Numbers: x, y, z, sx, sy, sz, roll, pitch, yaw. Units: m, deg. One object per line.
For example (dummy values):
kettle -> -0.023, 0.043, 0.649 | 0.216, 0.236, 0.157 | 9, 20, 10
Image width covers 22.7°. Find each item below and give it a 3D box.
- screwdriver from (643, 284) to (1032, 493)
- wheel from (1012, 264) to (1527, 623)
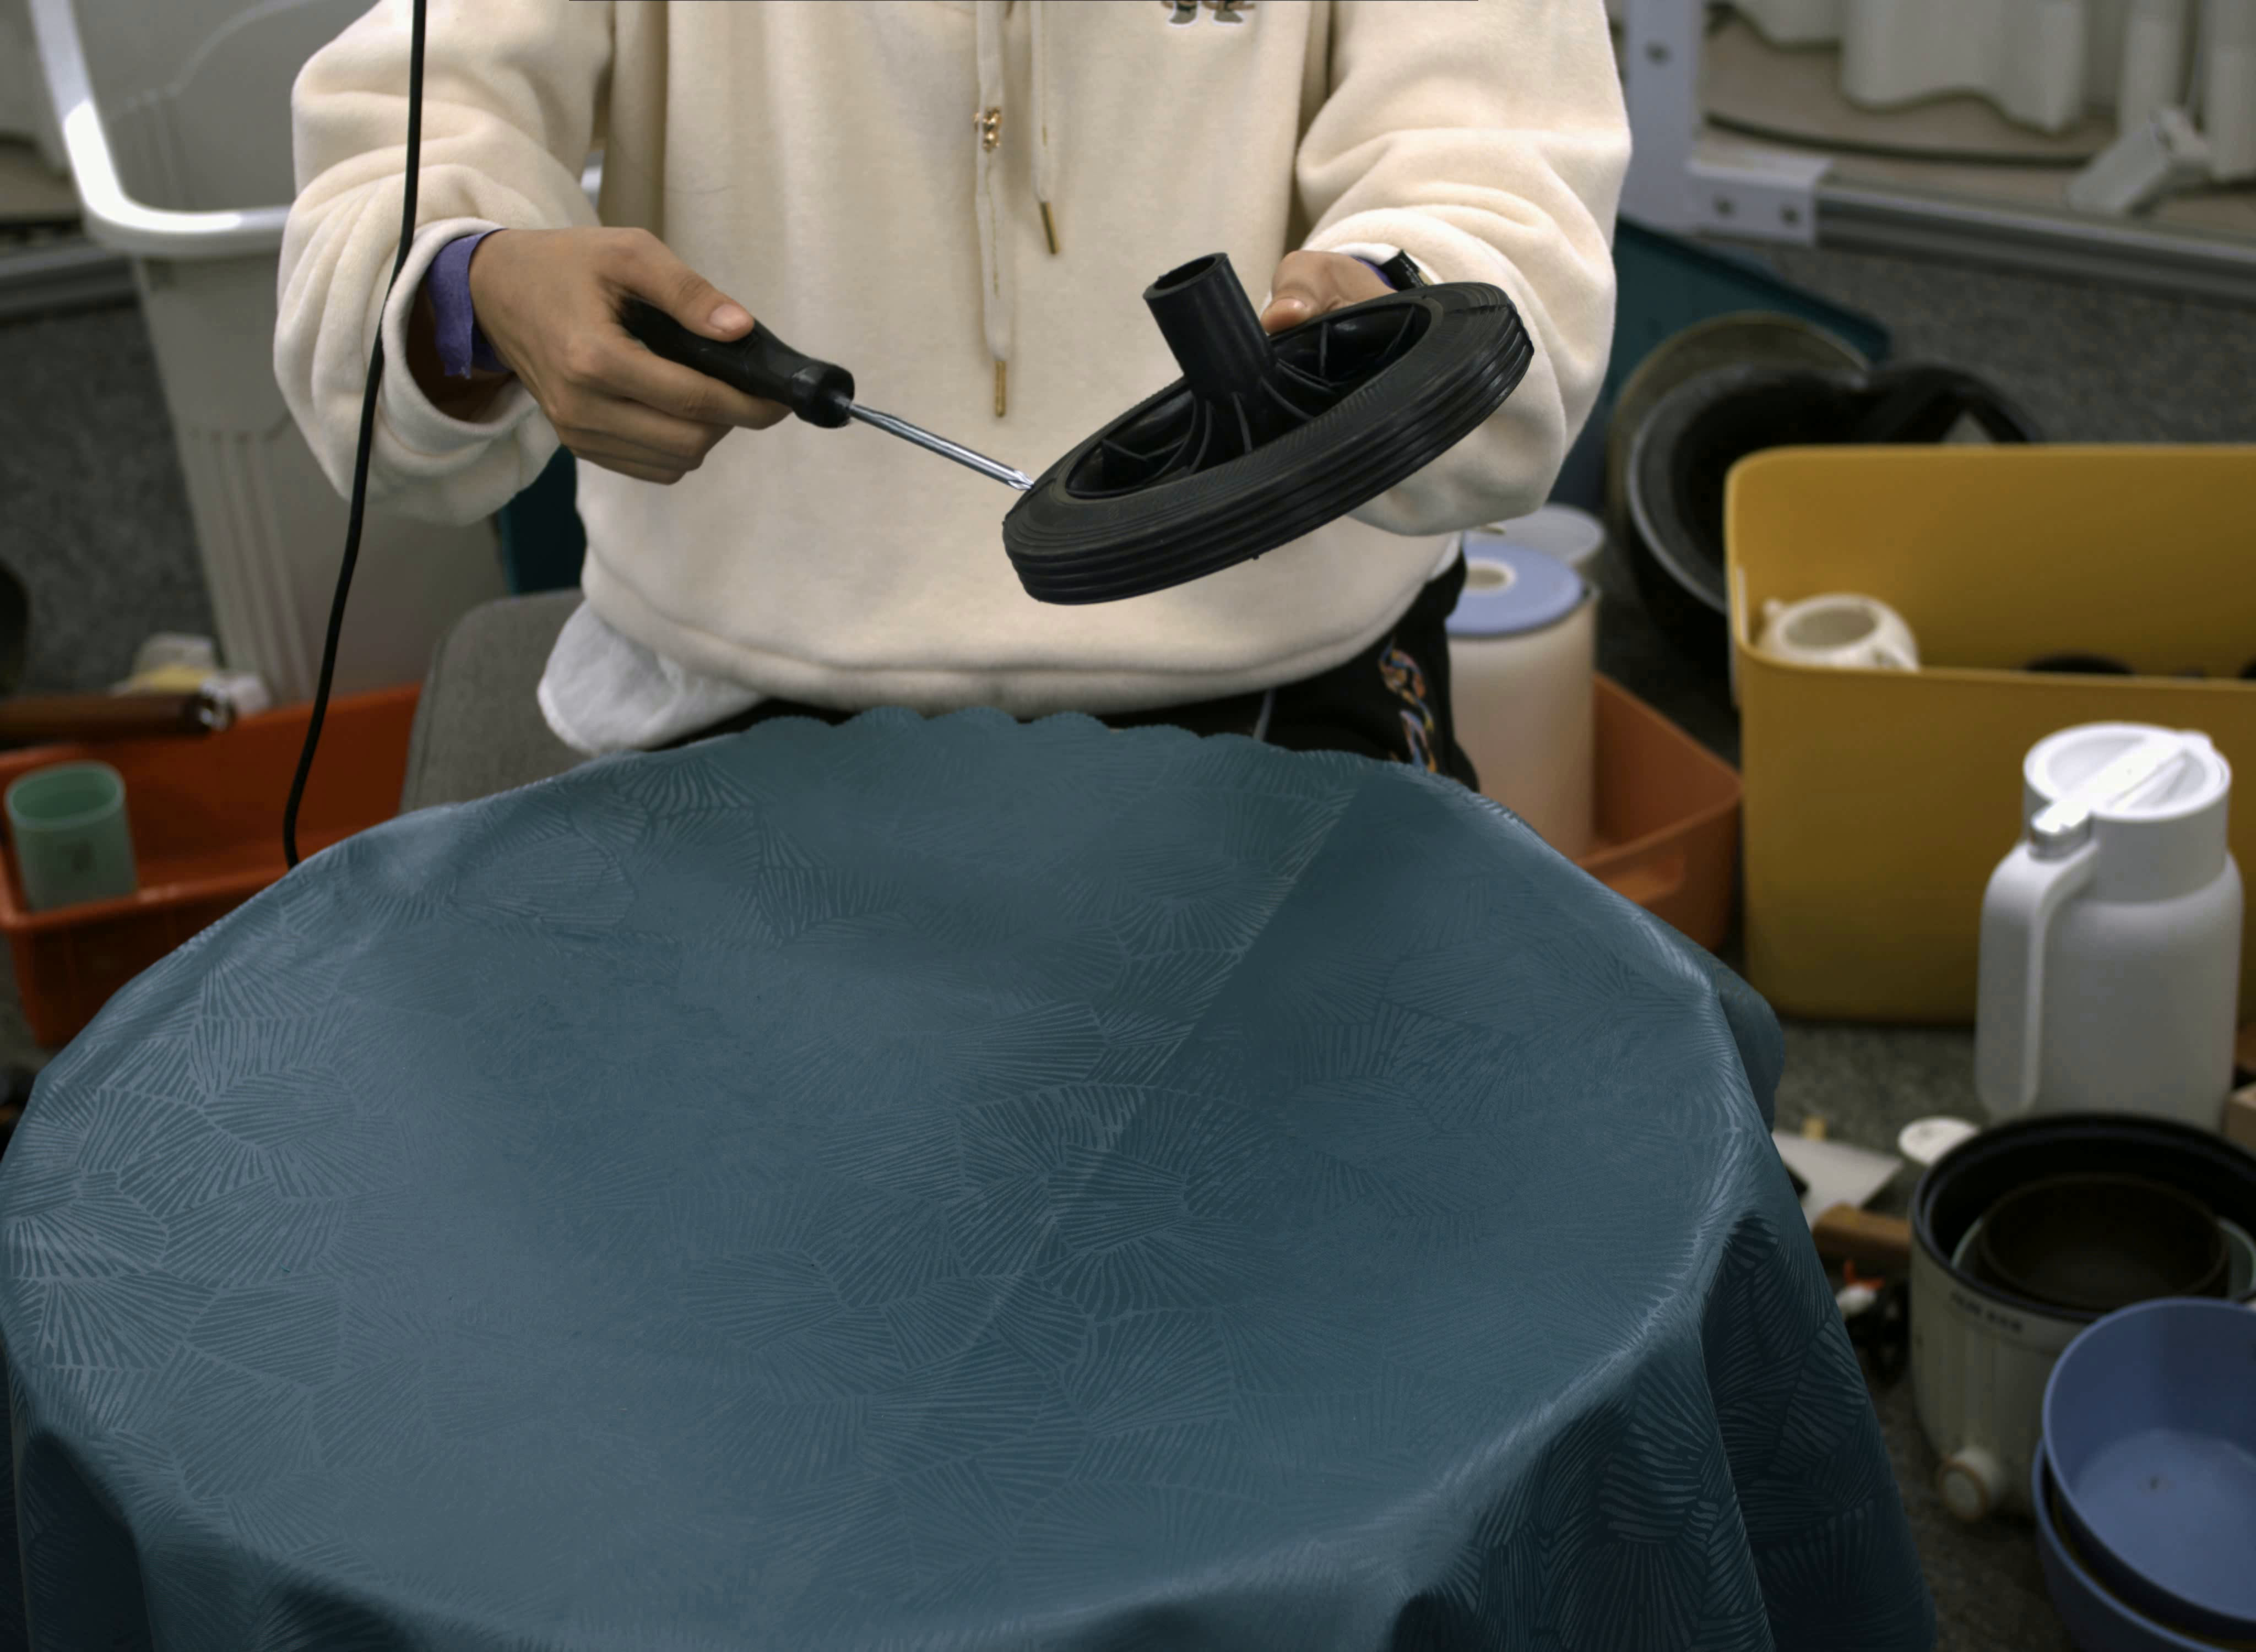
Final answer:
screwdriver -> -0.103, -0.151, 1.959 | 0.032, 0.031, 0.196 | -24, 35, -35
wheel -> 0.036, -0.143, 1.865 | 0.185, 0.079, 0.193 | -8, 27, 48
